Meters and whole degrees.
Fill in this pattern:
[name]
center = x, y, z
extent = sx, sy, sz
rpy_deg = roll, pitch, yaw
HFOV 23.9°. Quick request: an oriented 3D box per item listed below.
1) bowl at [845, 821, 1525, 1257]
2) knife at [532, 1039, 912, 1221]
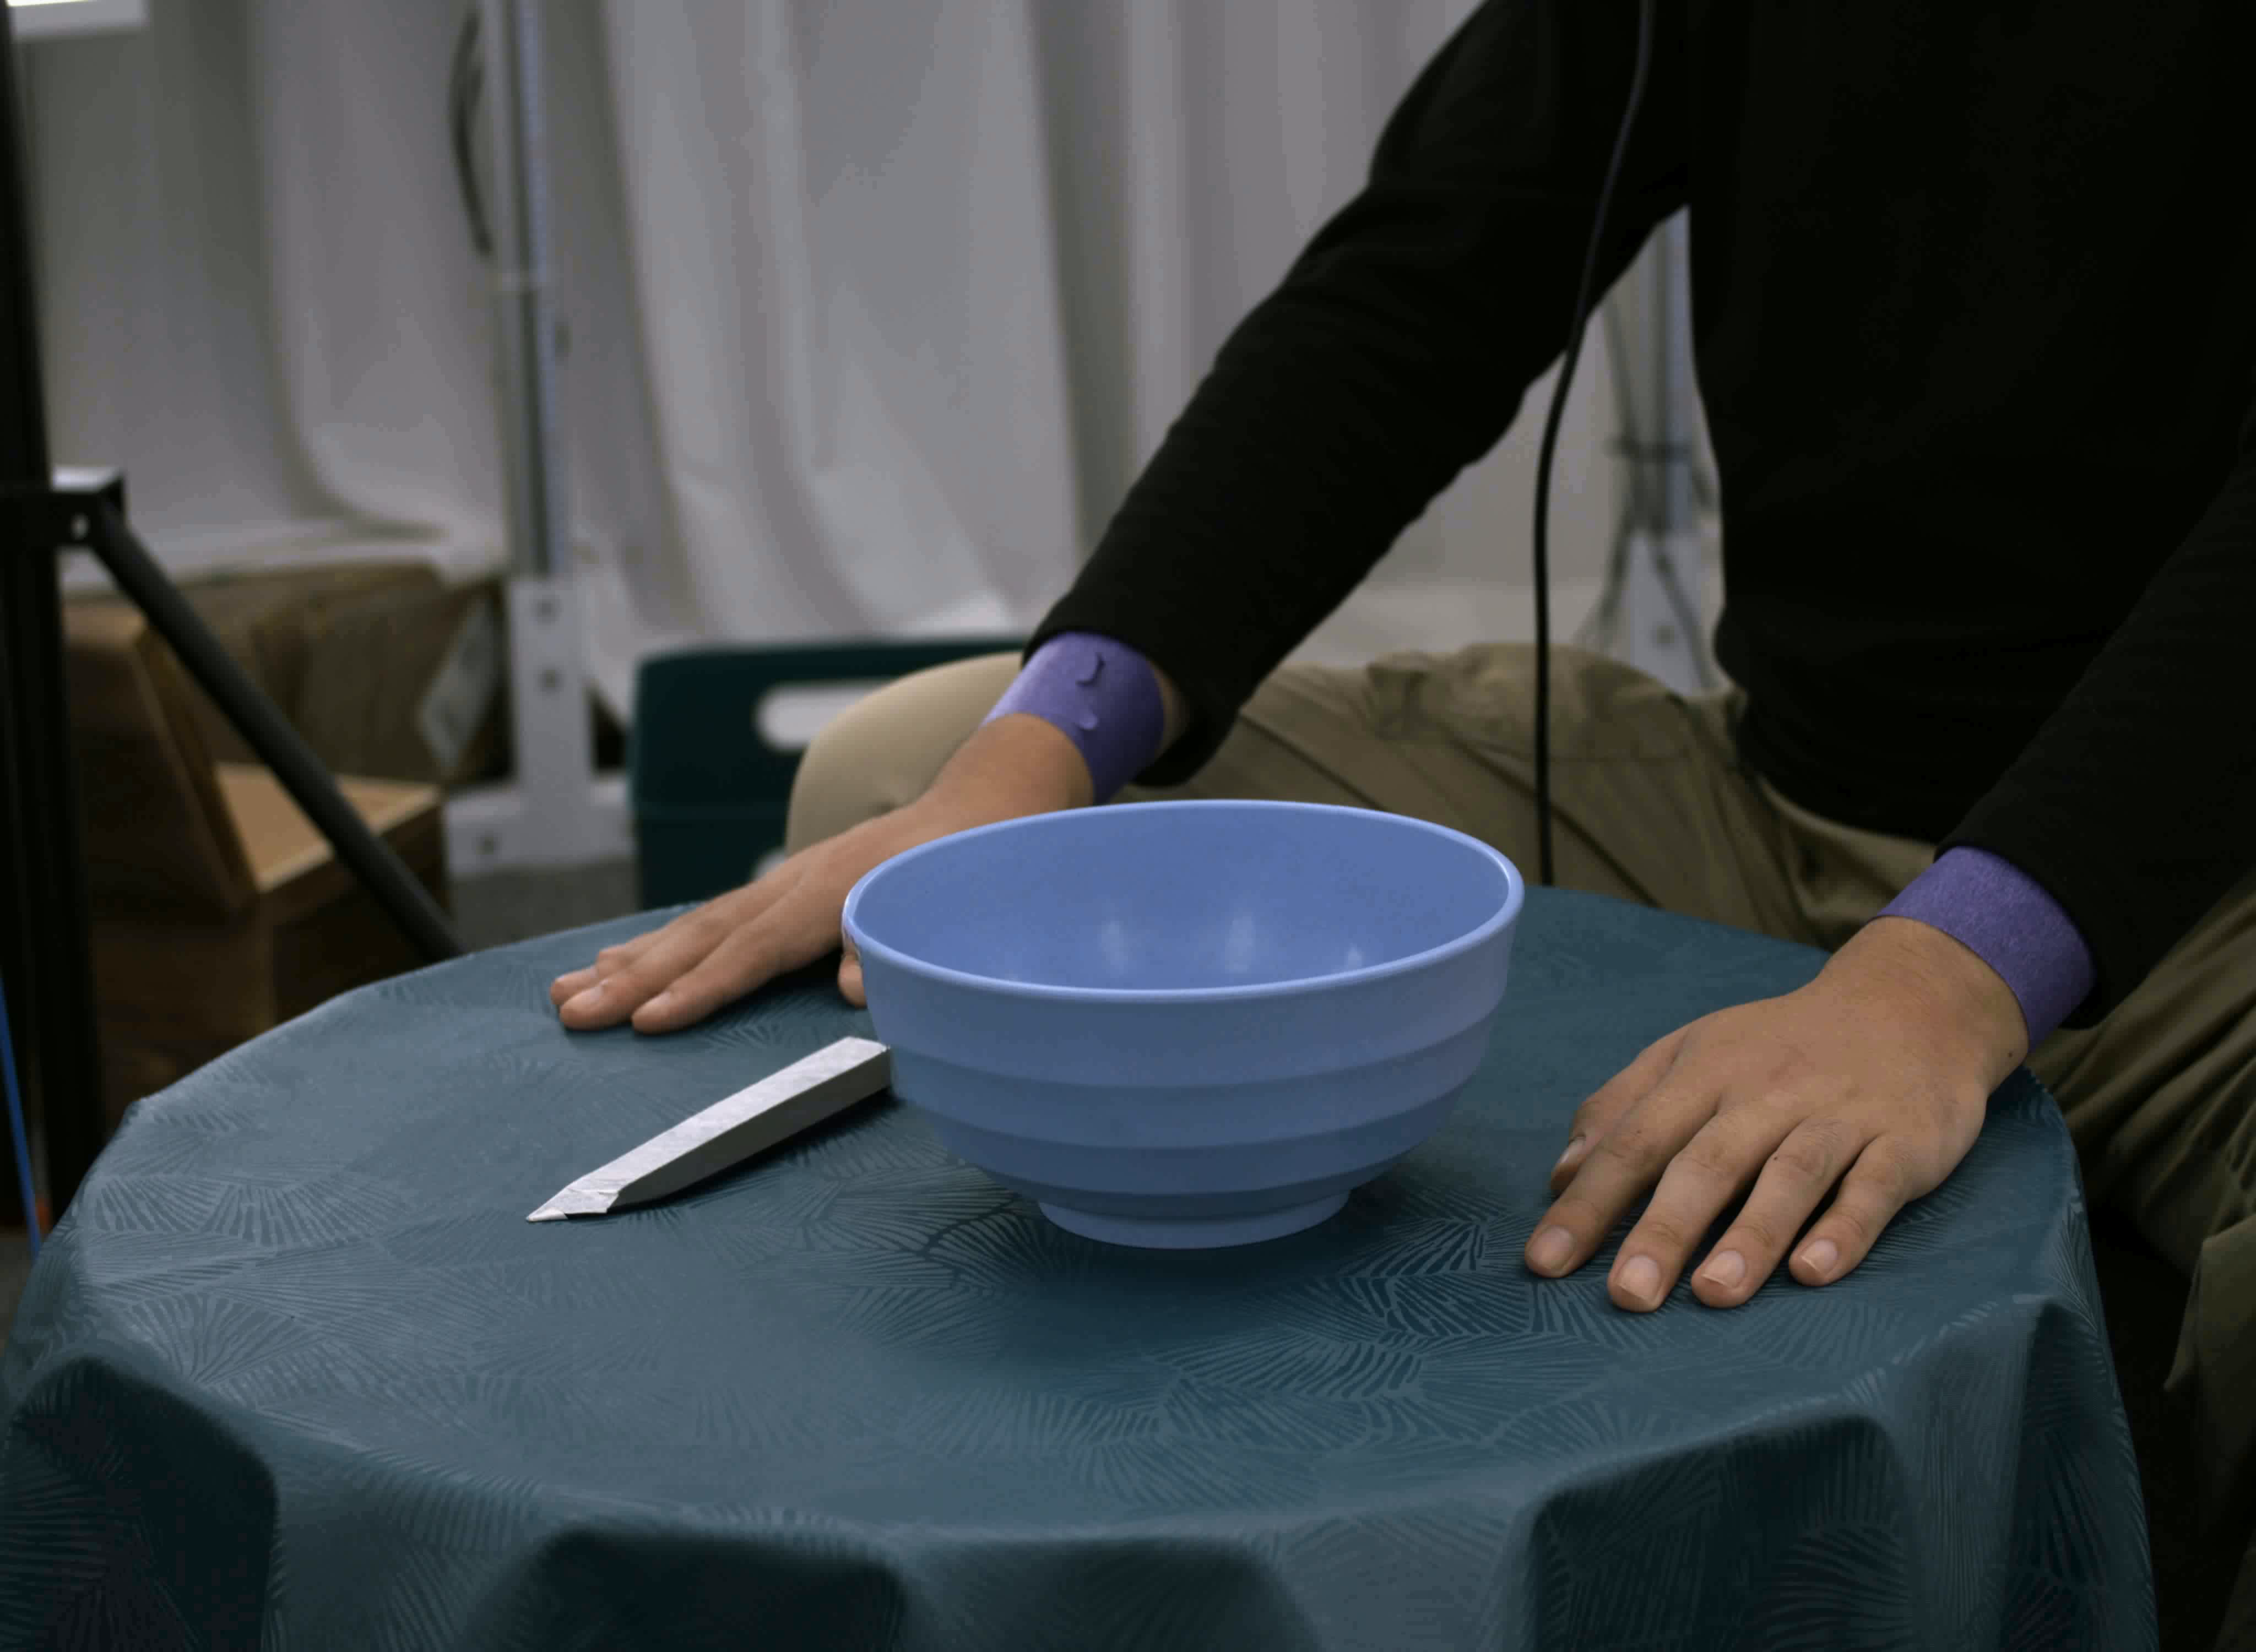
[bowl]
center = 0.017, 0.066, 1.537
extent = 0.195, 0.095, 0.197
rpy_deg = -2, 14, -1
[knife]
center = -0.082, 0.076, 1.655
extent = 0.051, 0.020, 0.283
rpy_deg = 5, 19, 40
